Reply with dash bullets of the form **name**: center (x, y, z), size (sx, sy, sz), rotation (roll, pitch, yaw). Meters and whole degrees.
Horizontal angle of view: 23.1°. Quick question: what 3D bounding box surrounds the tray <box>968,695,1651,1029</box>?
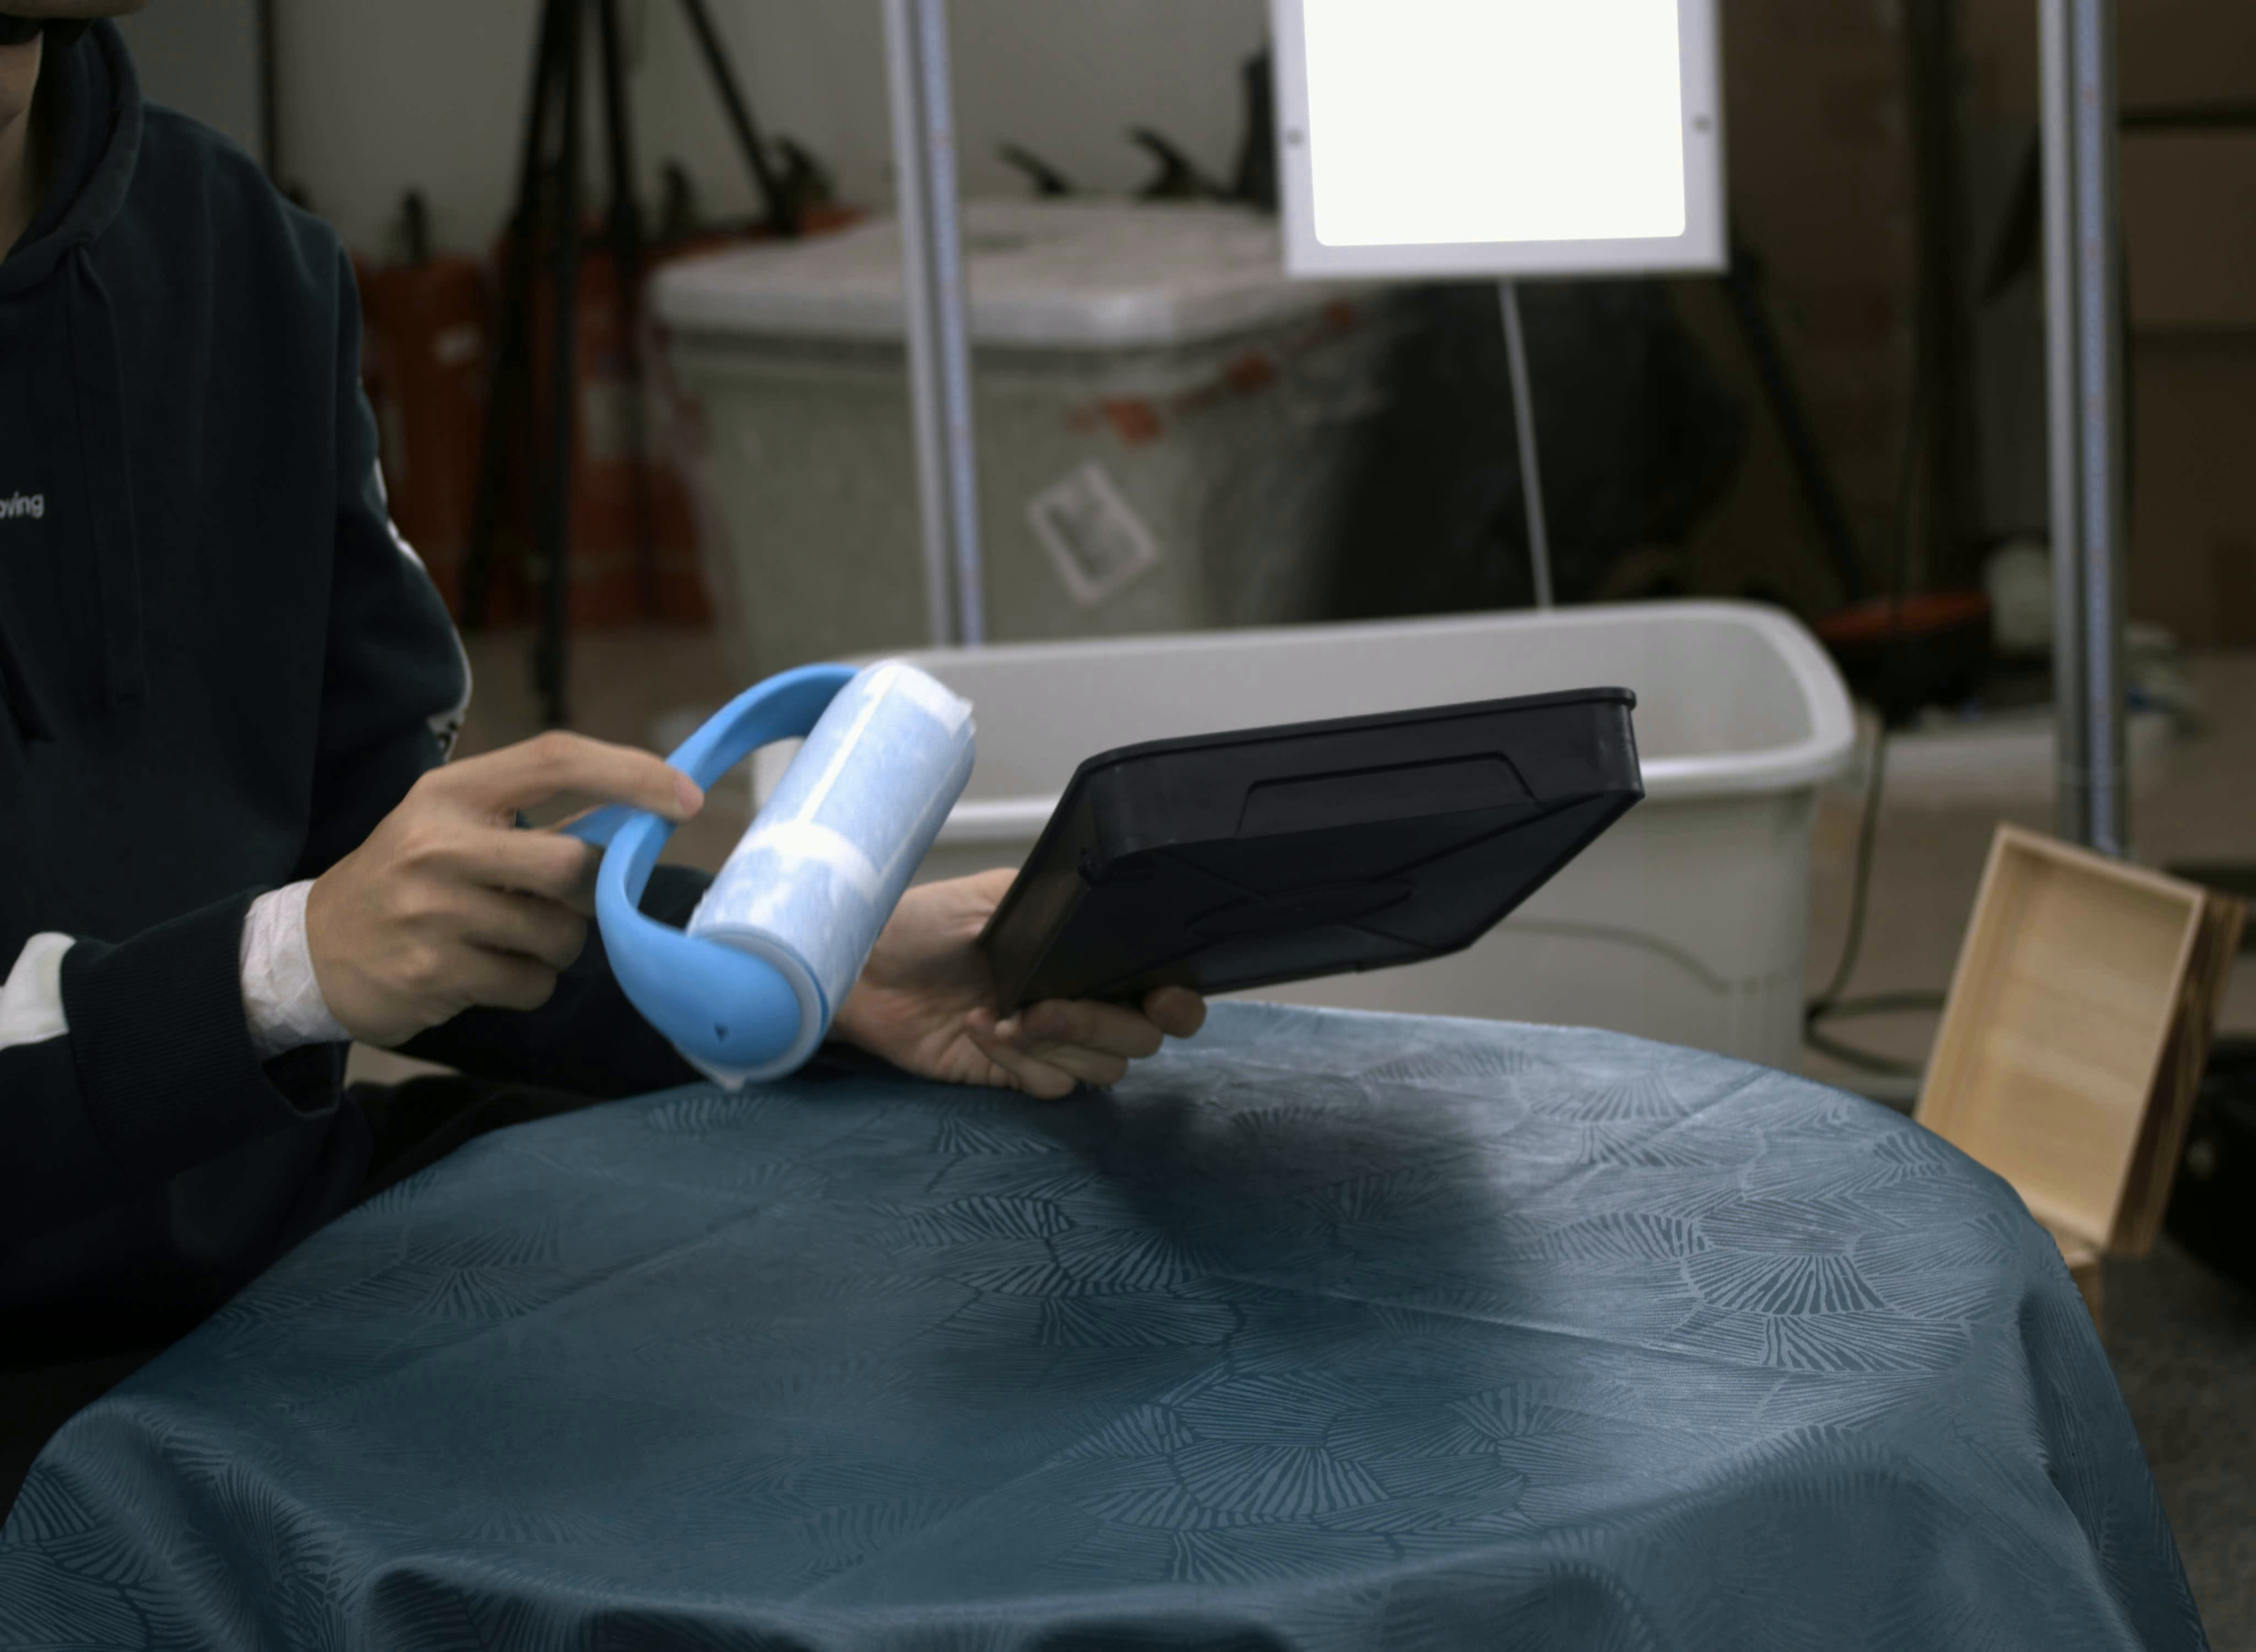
- **tray**: center (0.056, 0.016, 1.877), size (0.182, 0.037, 0.320), rotation (-8, -9, -11)

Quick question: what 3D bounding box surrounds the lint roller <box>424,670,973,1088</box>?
- **lint roller**: center (-0.153, 0.025, 1.763), size (0.182, 0.068, 0.226), rotation (-12, 24, 17)
